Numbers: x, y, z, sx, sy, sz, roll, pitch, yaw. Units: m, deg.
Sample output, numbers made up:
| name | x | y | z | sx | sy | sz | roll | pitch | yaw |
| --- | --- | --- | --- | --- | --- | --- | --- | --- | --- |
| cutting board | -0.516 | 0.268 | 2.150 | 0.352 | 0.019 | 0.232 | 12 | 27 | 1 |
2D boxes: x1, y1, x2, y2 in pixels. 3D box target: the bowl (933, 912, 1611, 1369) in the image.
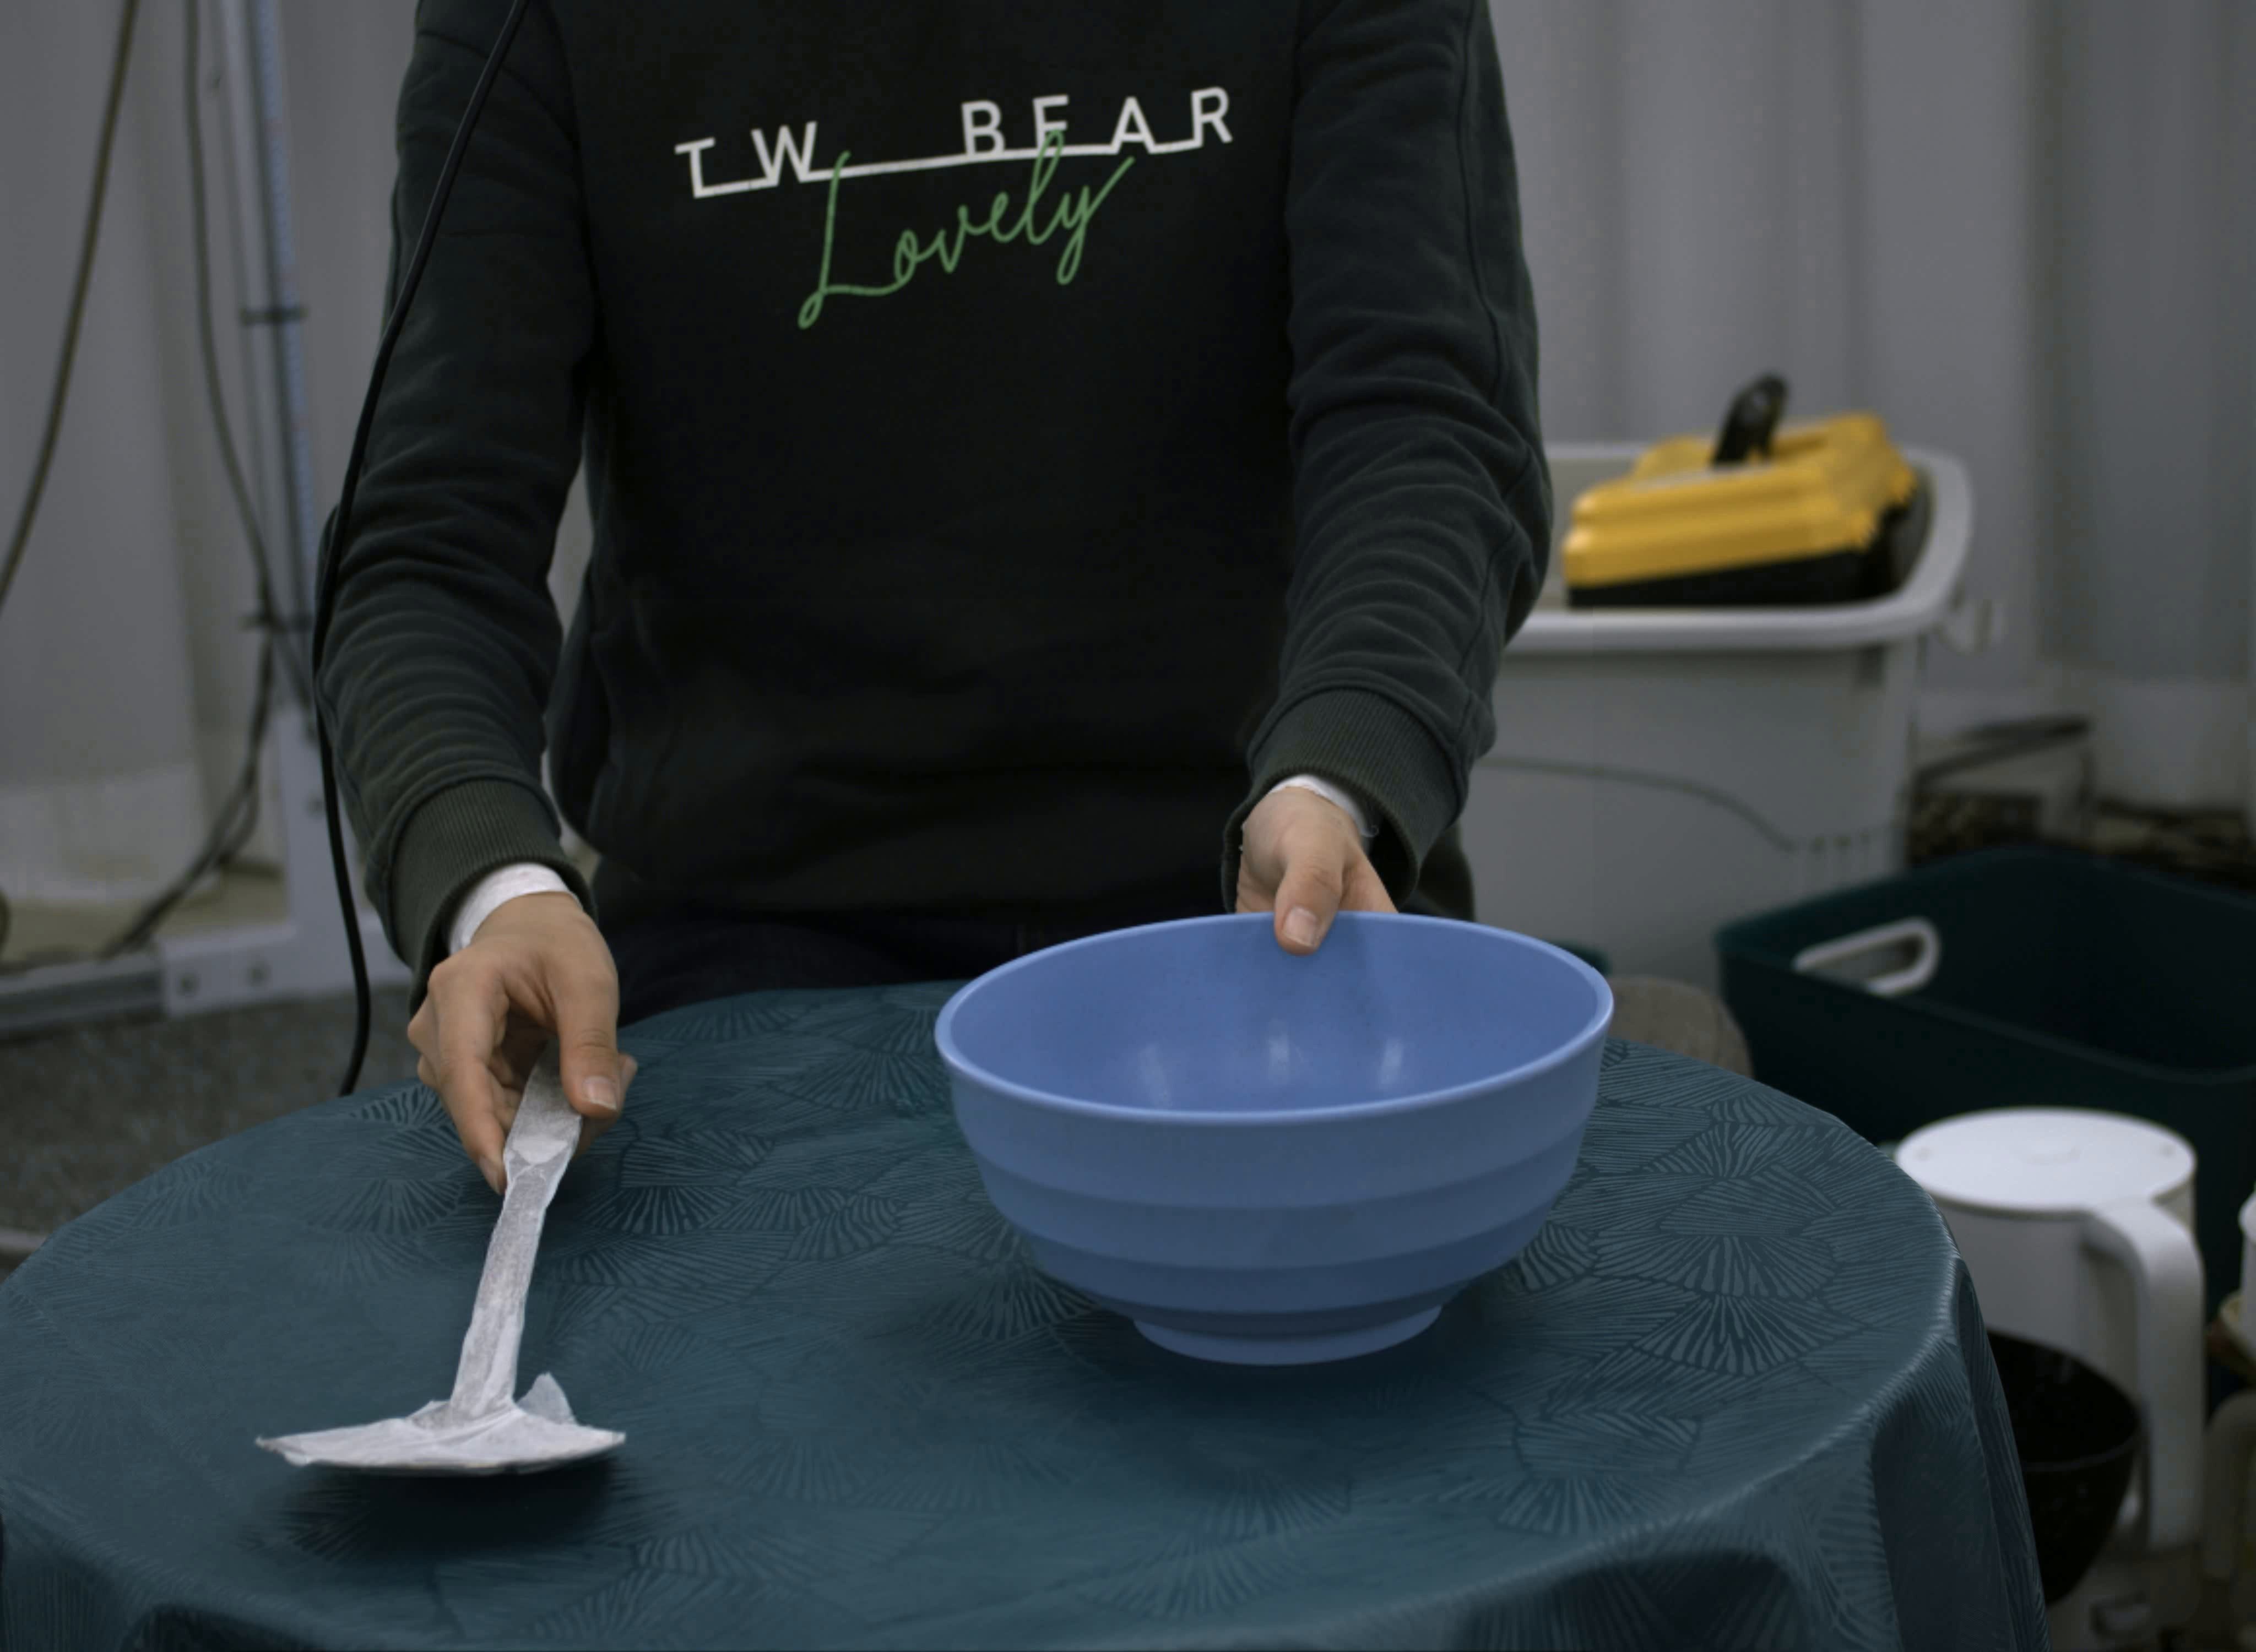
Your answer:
| name | x | y | z | sx | sy | sz | roll | pitch | yaw |
| --- | --- | --- | --- | --- | --- | --- | --- | --- | --- |
| bowl | 0.044 | 0.097 | 1.589 | 0.196 | 0.095 | 0.198 | -4 | 15 | 1 |

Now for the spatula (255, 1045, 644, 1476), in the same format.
| name | x | y | z | sx | sy | sz | roll | pitch | yaw |
| --- | --- | --- | --- | --- | --- | --- | --- | --- | --- |
| spatula | -0.177 | 0.120 | 1.612 | 0.098 | 0.044 | 0.368 | -2 | 21 | 3 |
